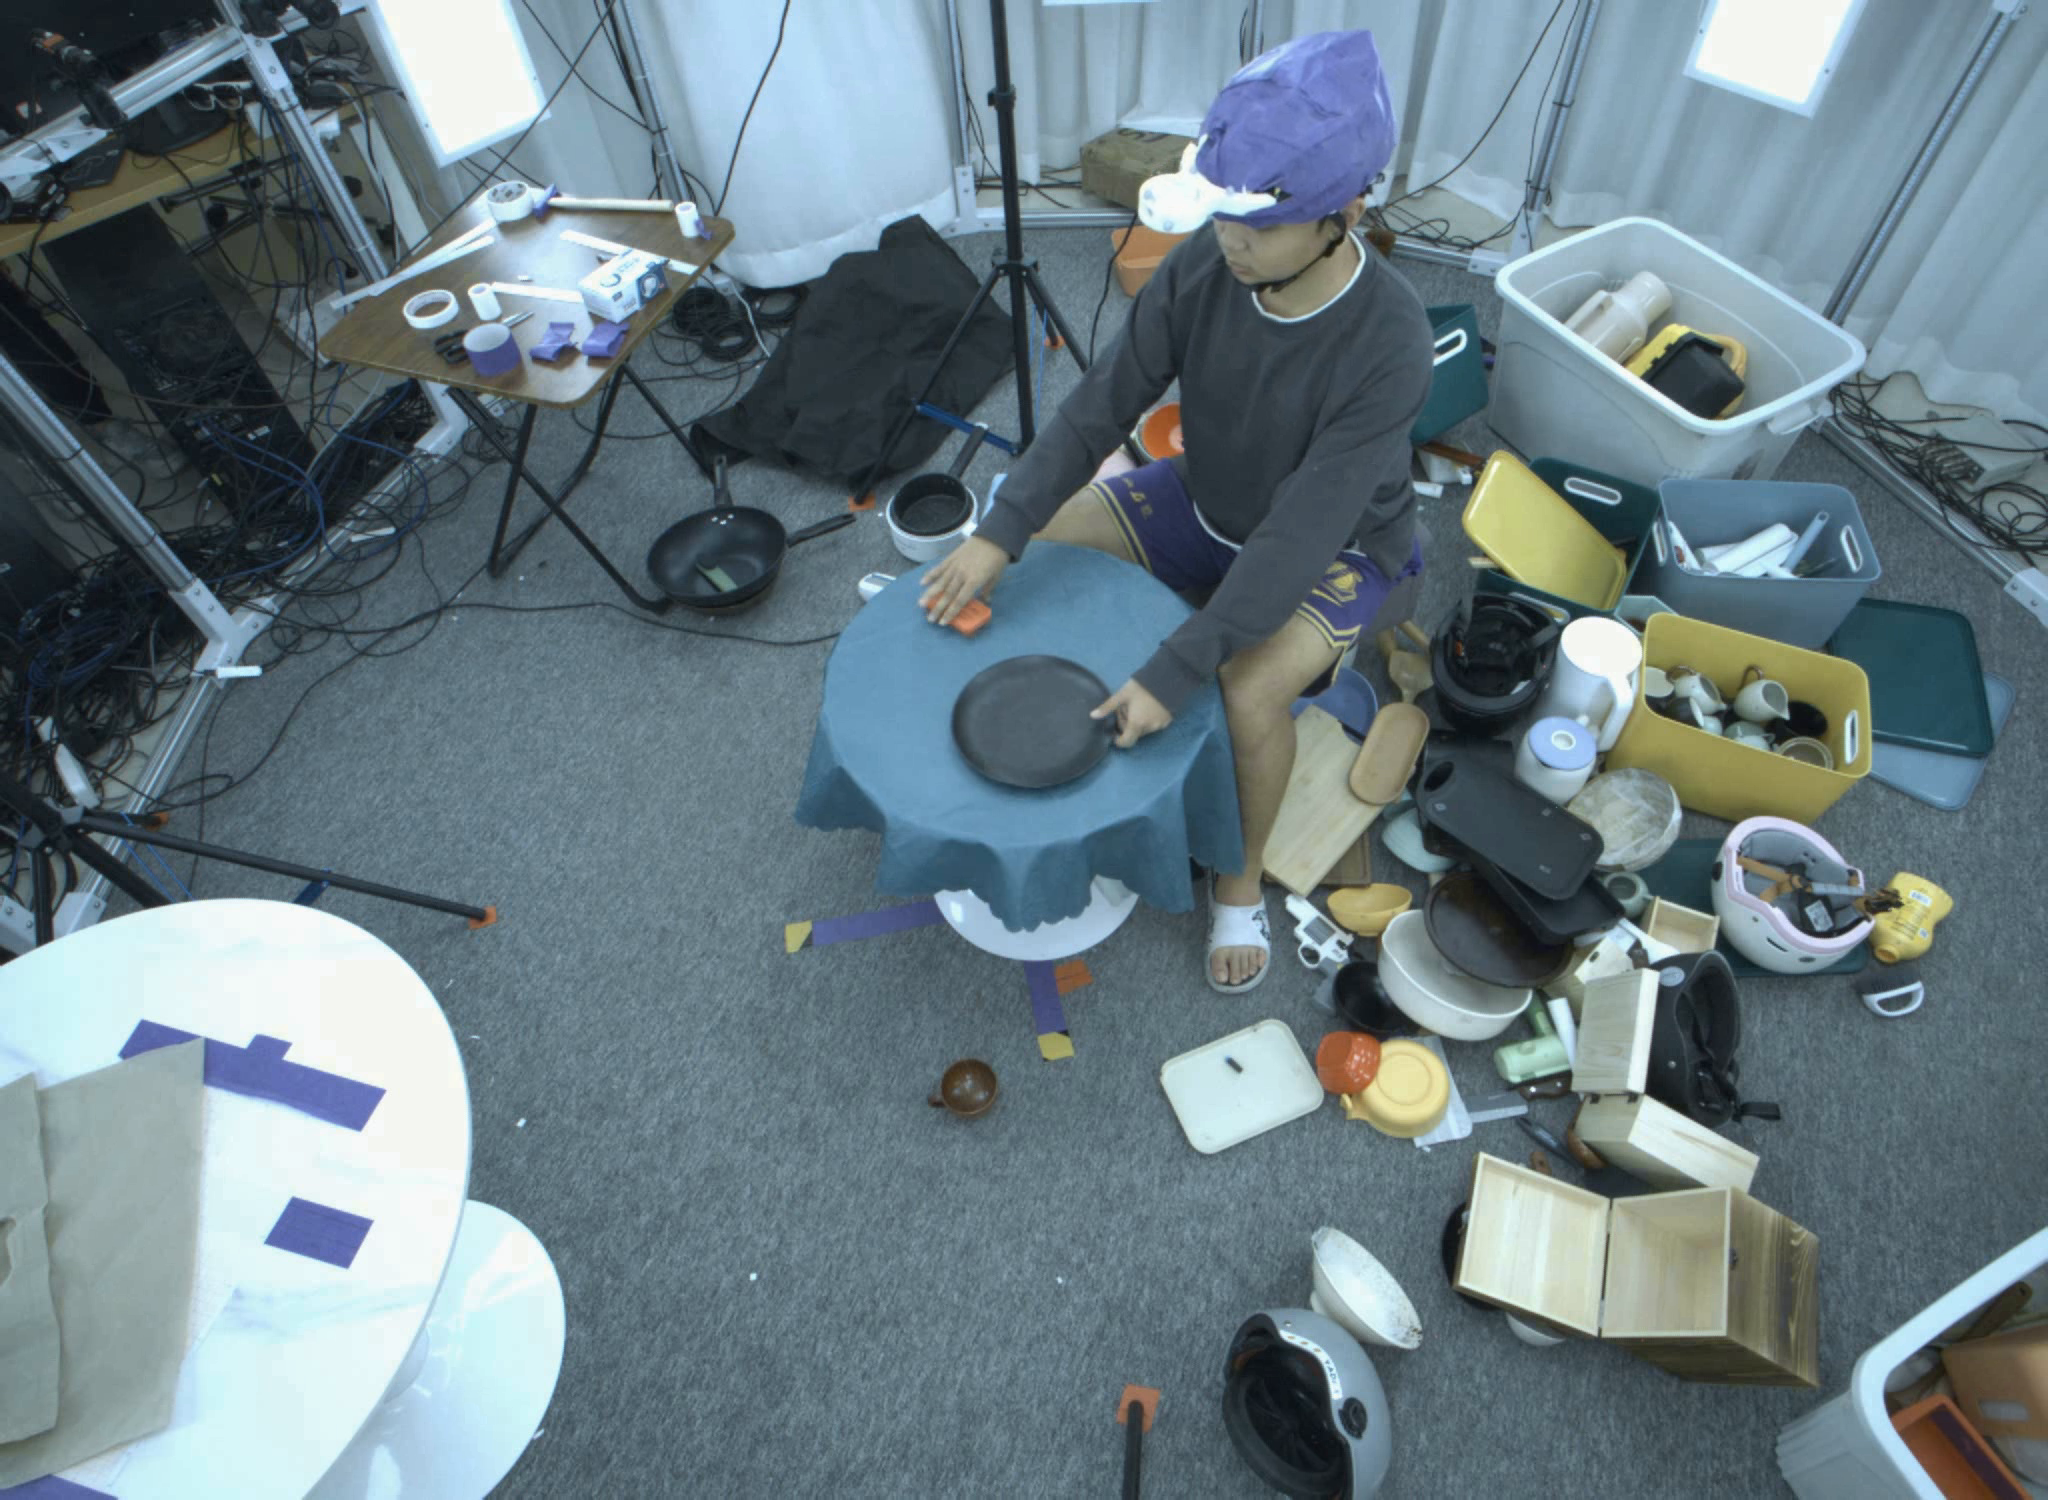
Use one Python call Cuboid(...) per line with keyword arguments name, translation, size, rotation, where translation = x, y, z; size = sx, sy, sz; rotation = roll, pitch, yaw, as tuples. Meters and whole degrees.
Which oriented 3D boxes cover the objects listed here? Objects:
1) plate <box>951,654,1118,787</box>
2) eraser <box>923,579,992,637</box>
Cuboid(name="plate", translation=(0.015, -0.041, 1.805), size=(0.244, 0.024, 0.242), rotation=(-1, 55, 2))
Cuboid(name="eraser", translation=(-0.105, -0.225, 1.935), size=(0.106, 0.023, 0.059), rotation=(38, 66, 23))
